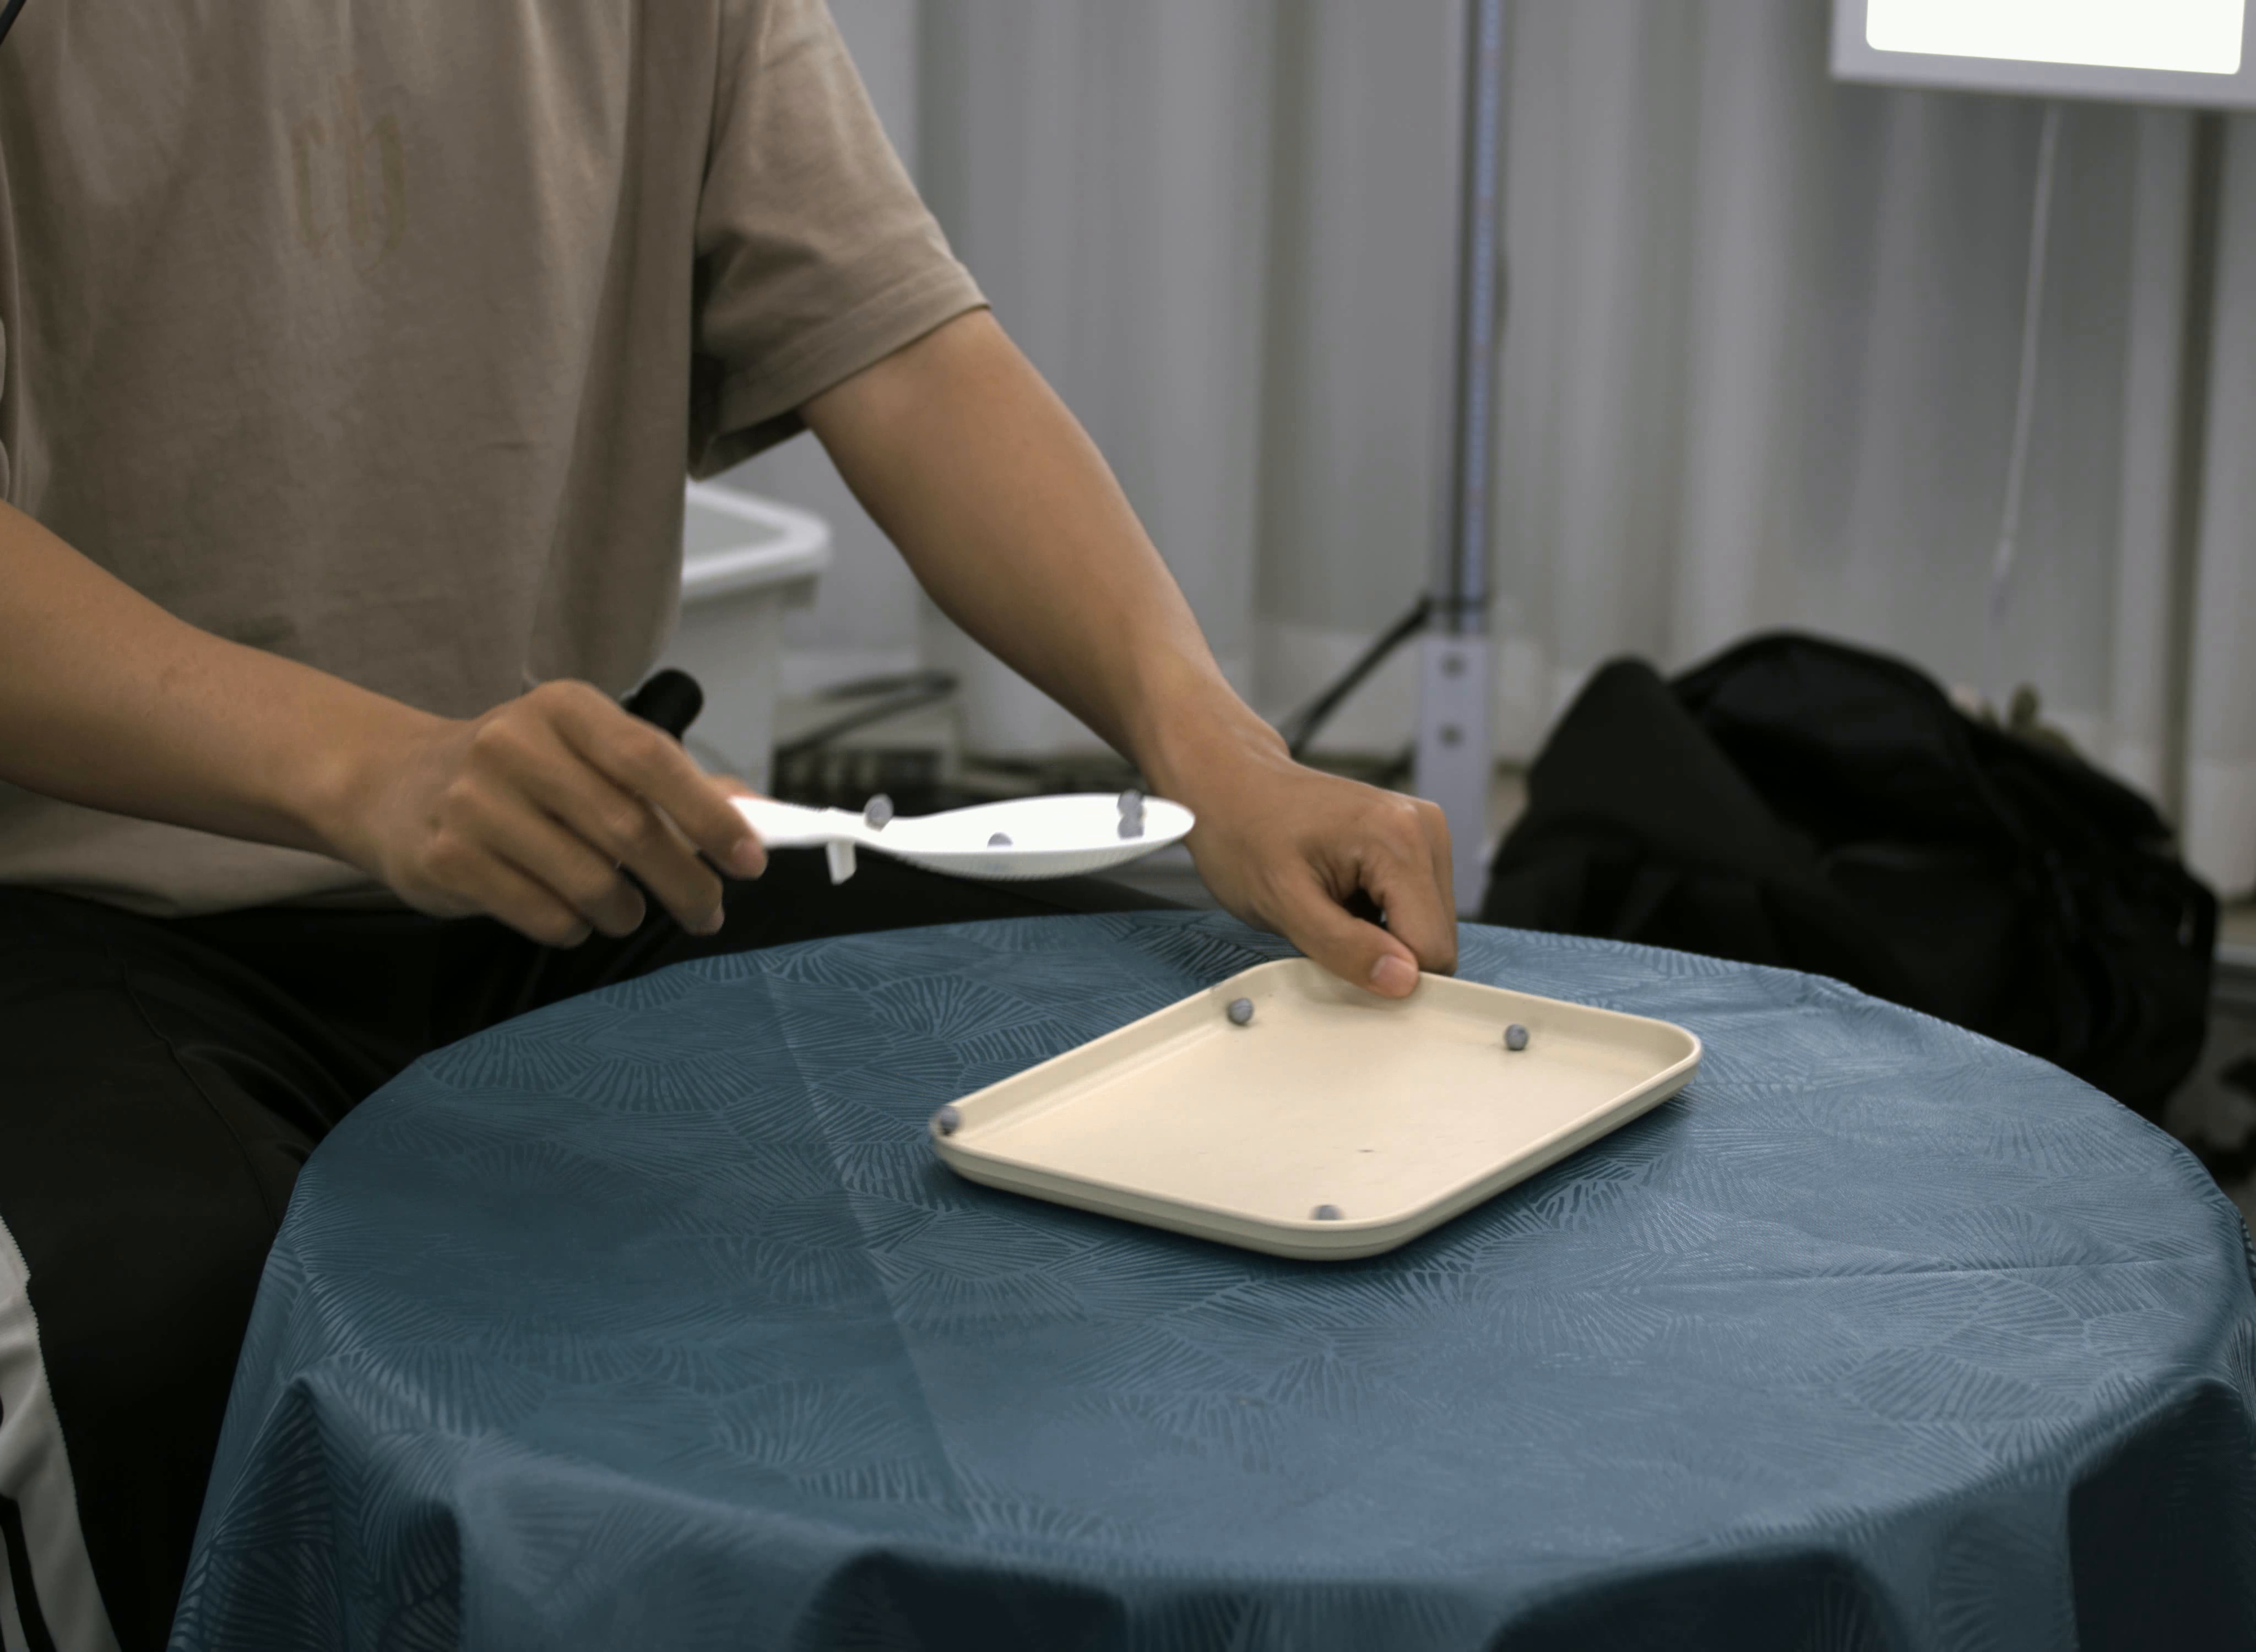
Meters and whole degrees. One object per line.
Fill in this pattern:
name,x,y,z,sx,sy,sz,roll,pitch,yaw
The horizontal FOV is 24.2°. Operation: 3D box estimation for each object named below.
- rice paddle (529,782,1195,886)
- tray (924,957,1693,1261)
rice paddle,-0.078,-0.002,1.547,0.203,0.029,0.069,-2,14,19
tray,0.060,0.089,1.680,0.169,0.017,0.240,12,19,32
